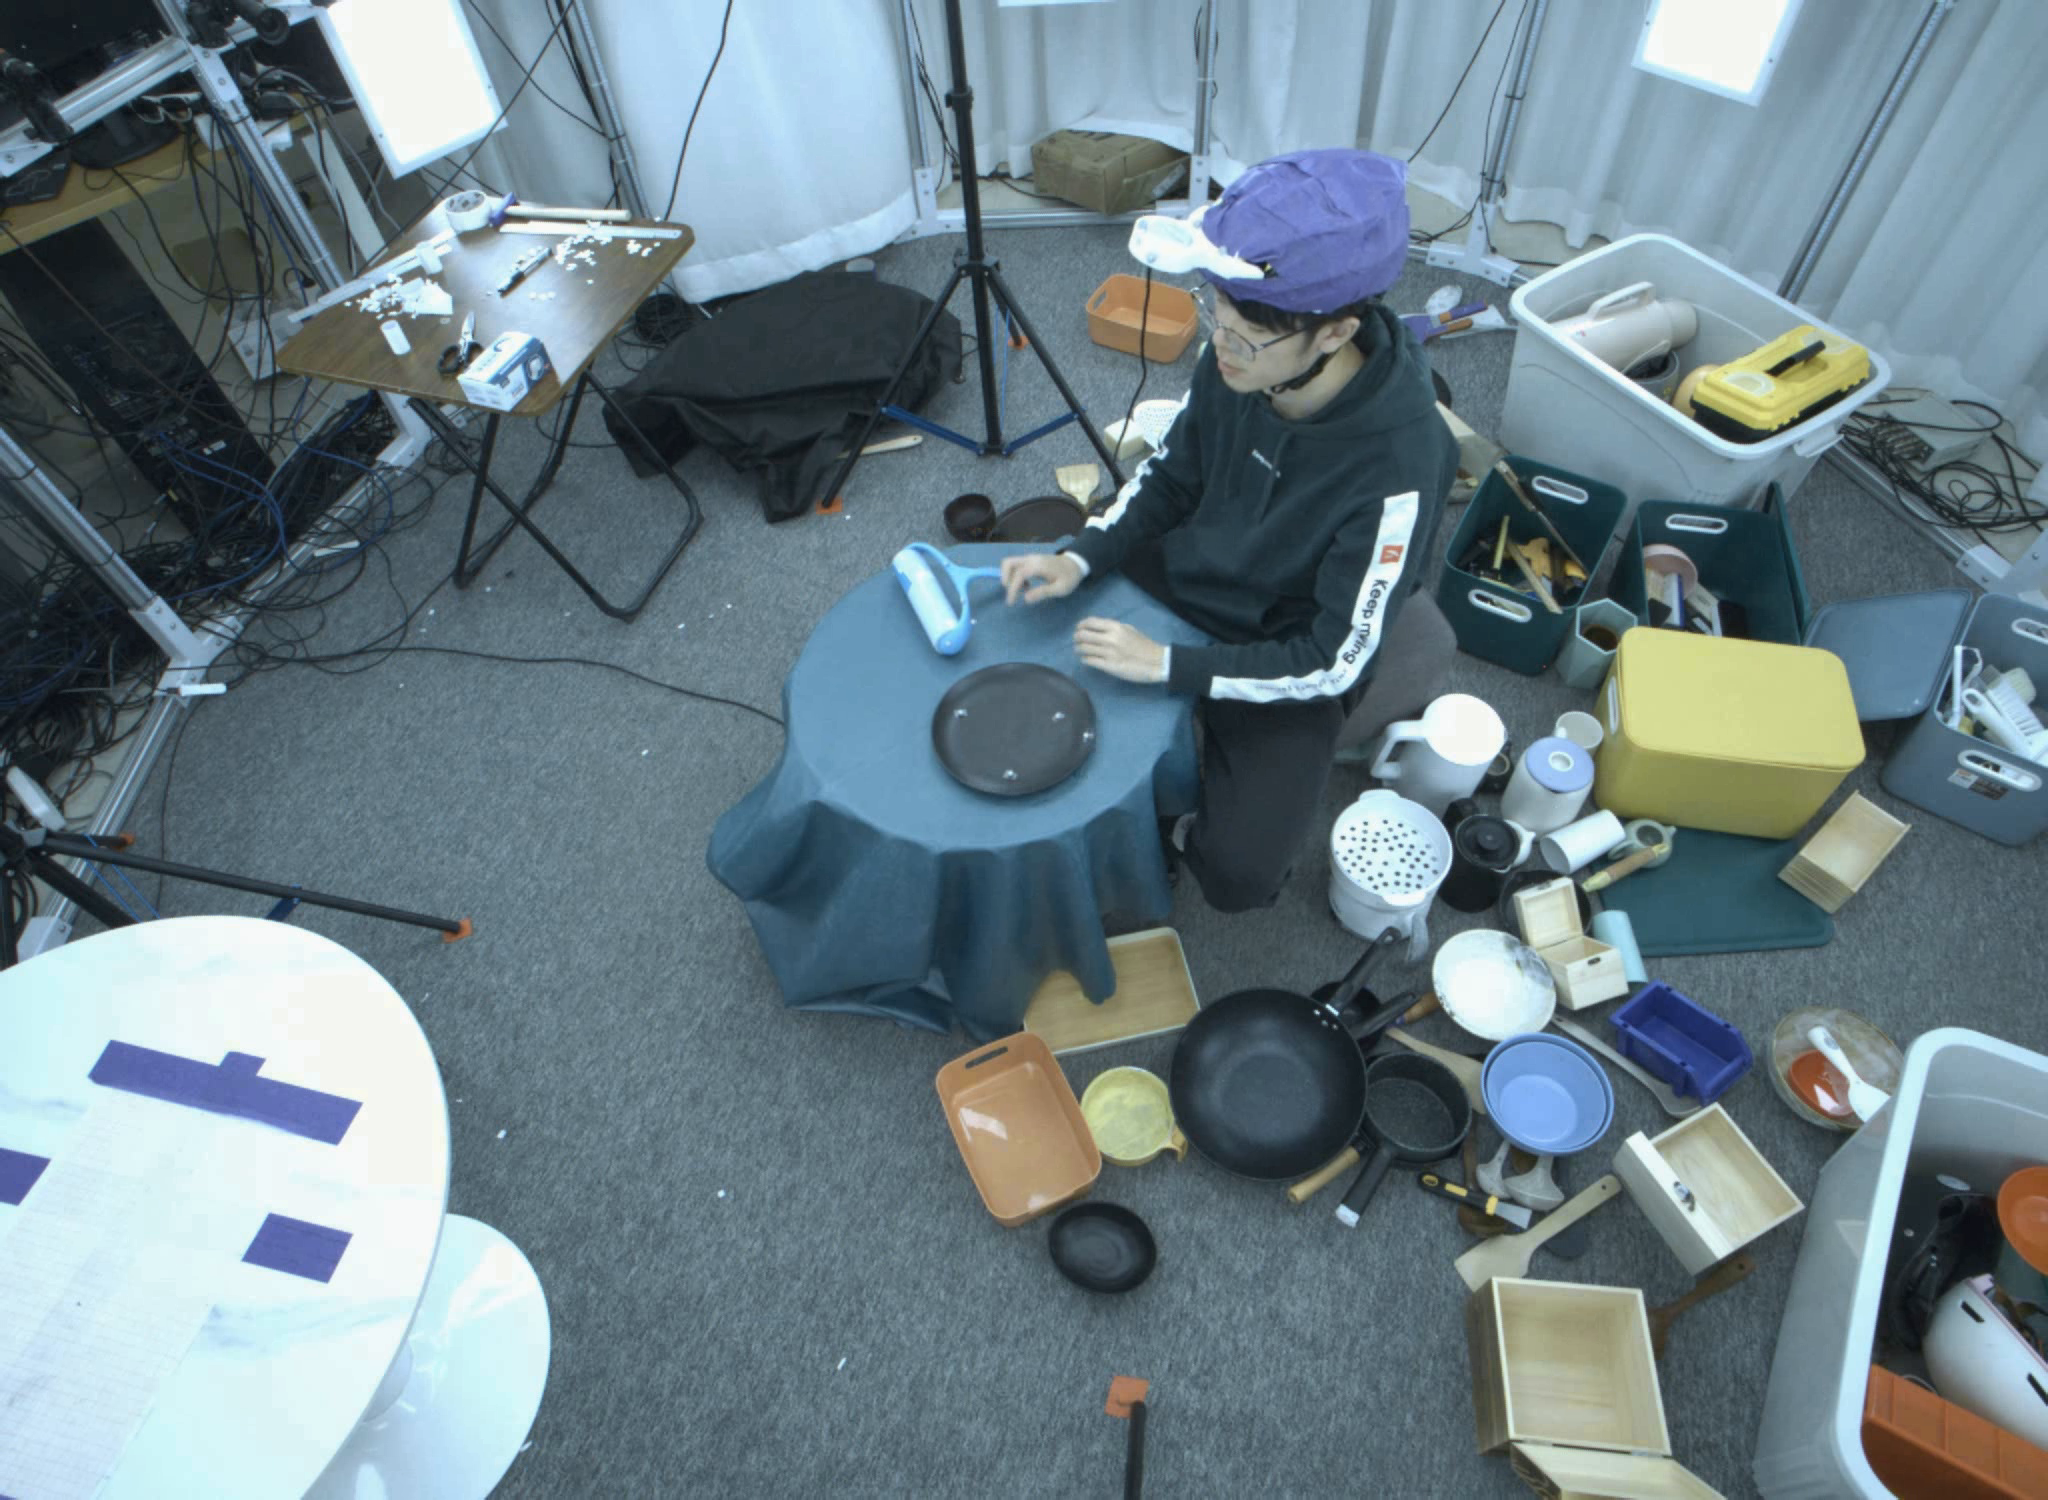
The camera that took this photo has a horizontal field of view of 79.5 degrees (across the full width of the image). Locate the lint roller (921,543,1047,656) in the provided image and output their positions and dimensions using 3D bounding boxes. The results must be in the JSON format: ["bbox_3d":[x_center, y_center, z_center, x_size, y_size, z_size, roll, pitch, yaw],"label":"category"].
[{"bbox_3d":[-0.051,-0.255,1.932,0.181,0.069,0.224,-22,55,-13],"label":"lint roller"}]

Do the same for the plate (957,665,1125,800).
[{"bbox_3d":[0.025,-0.024,1.785,0.244,0.024,0.242,0,55,2],"label":"plate"}]
